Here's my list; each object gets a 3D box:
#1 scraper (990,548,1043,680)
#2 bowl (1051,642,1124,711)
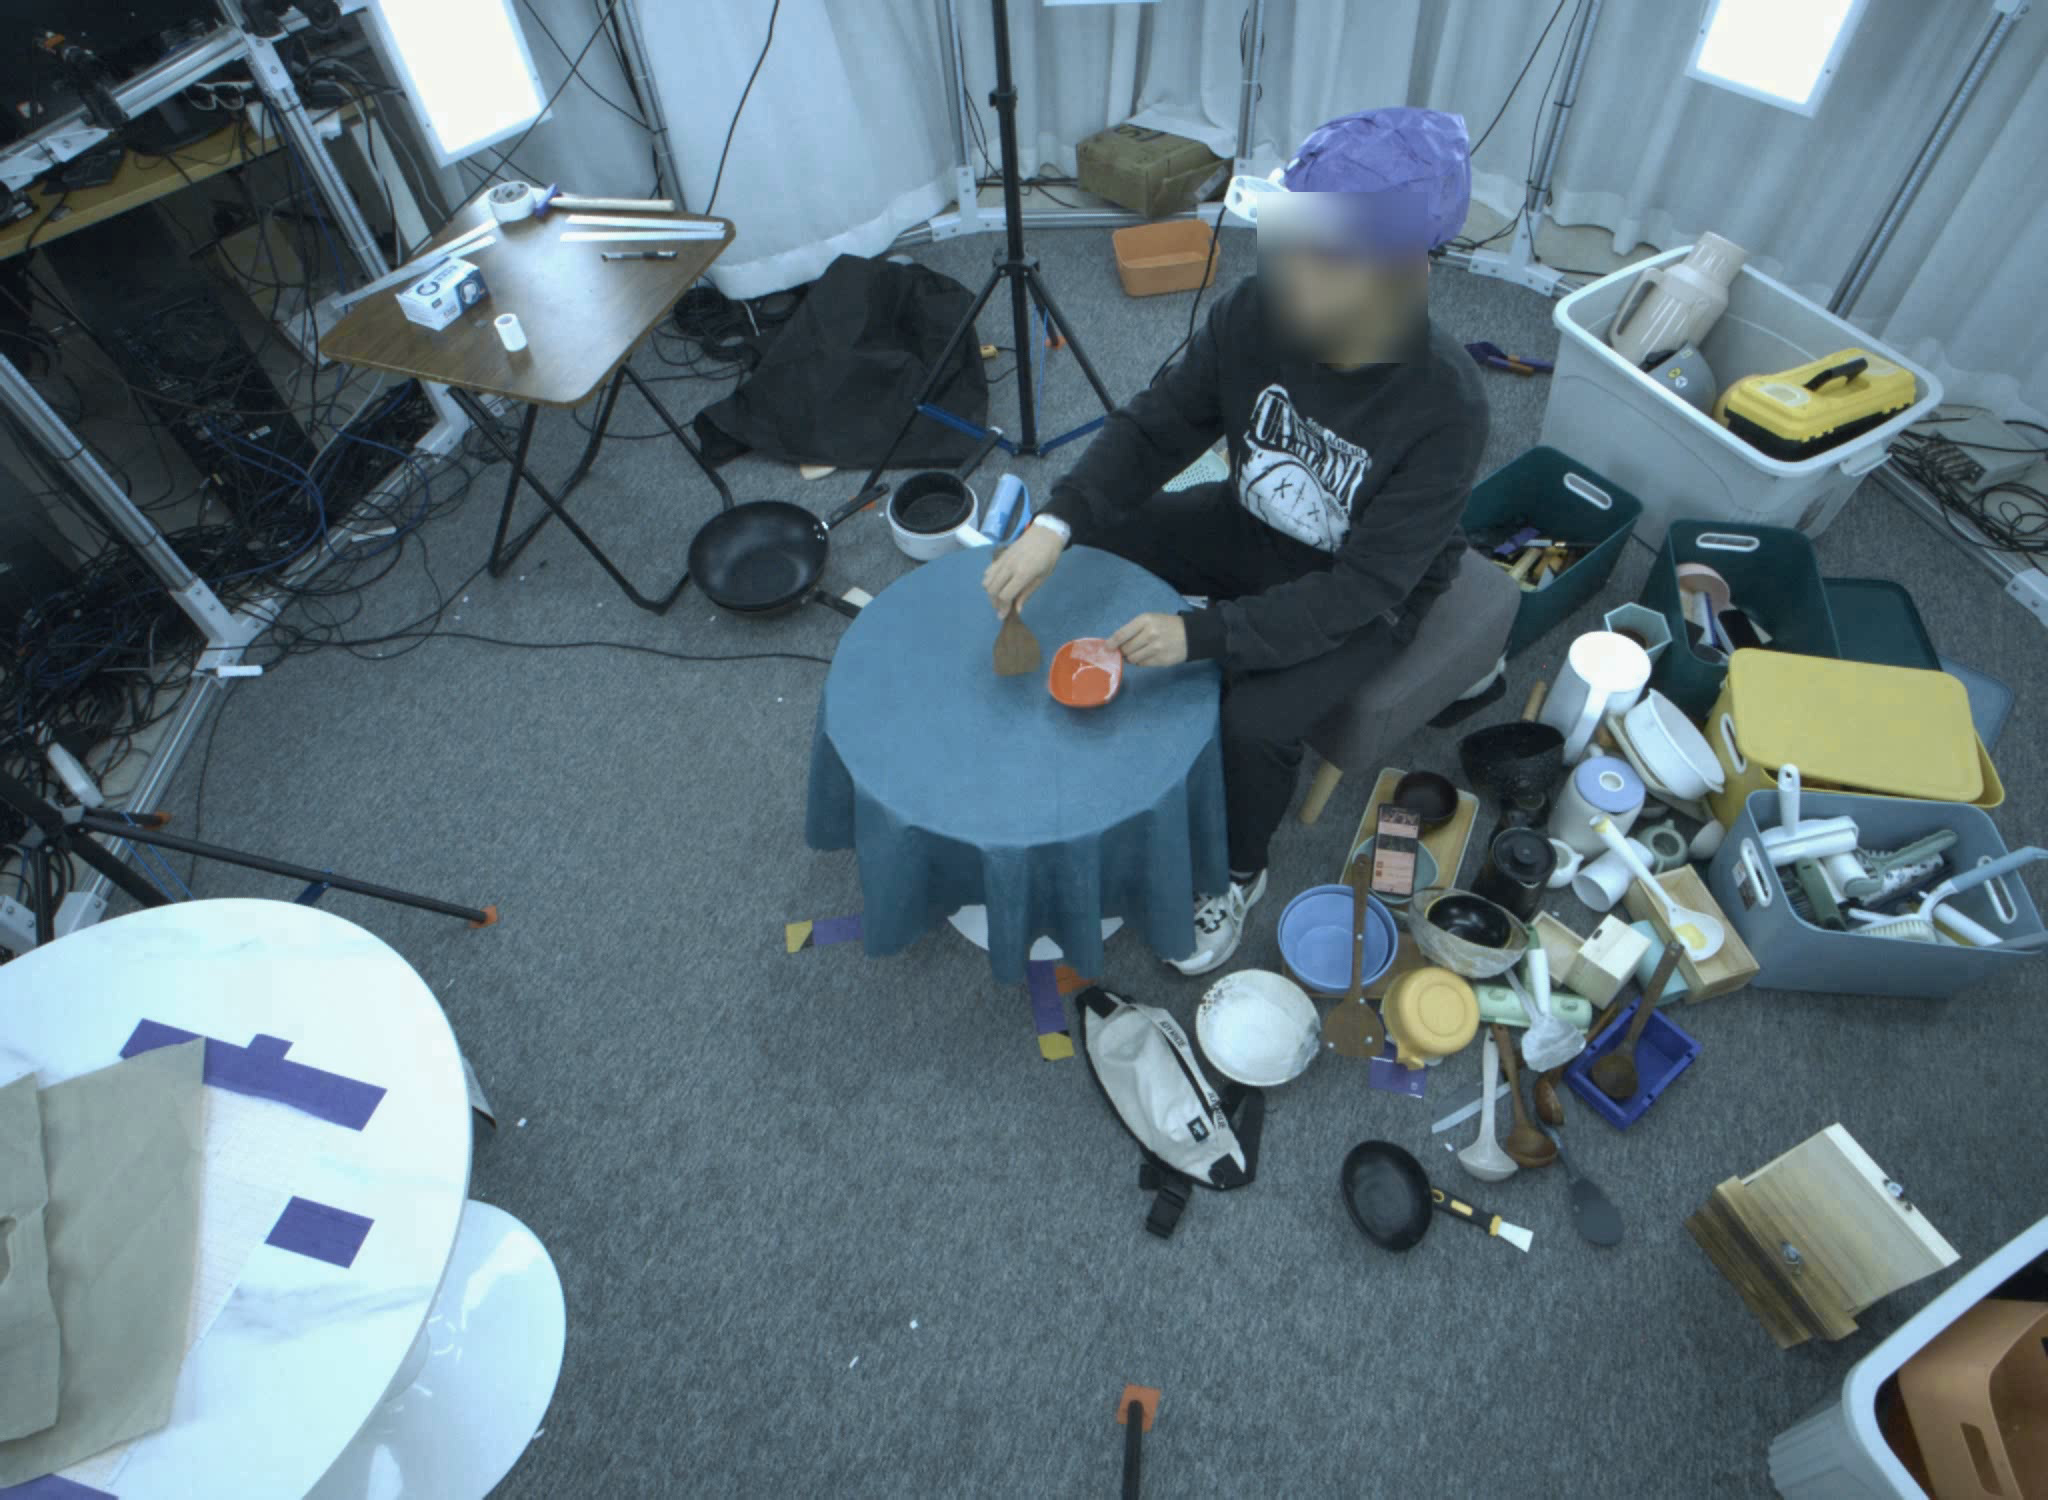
[{"bbox_3d":[-0.023,-0.205,1.834,0.076,0.011,0.210,-7,76,-4],"label":"scraper"},{"bbox_3d":[0.100,-0.101,1.823,0.117,0.052,0.118,-7,64,17],"label":"bowl"}]
